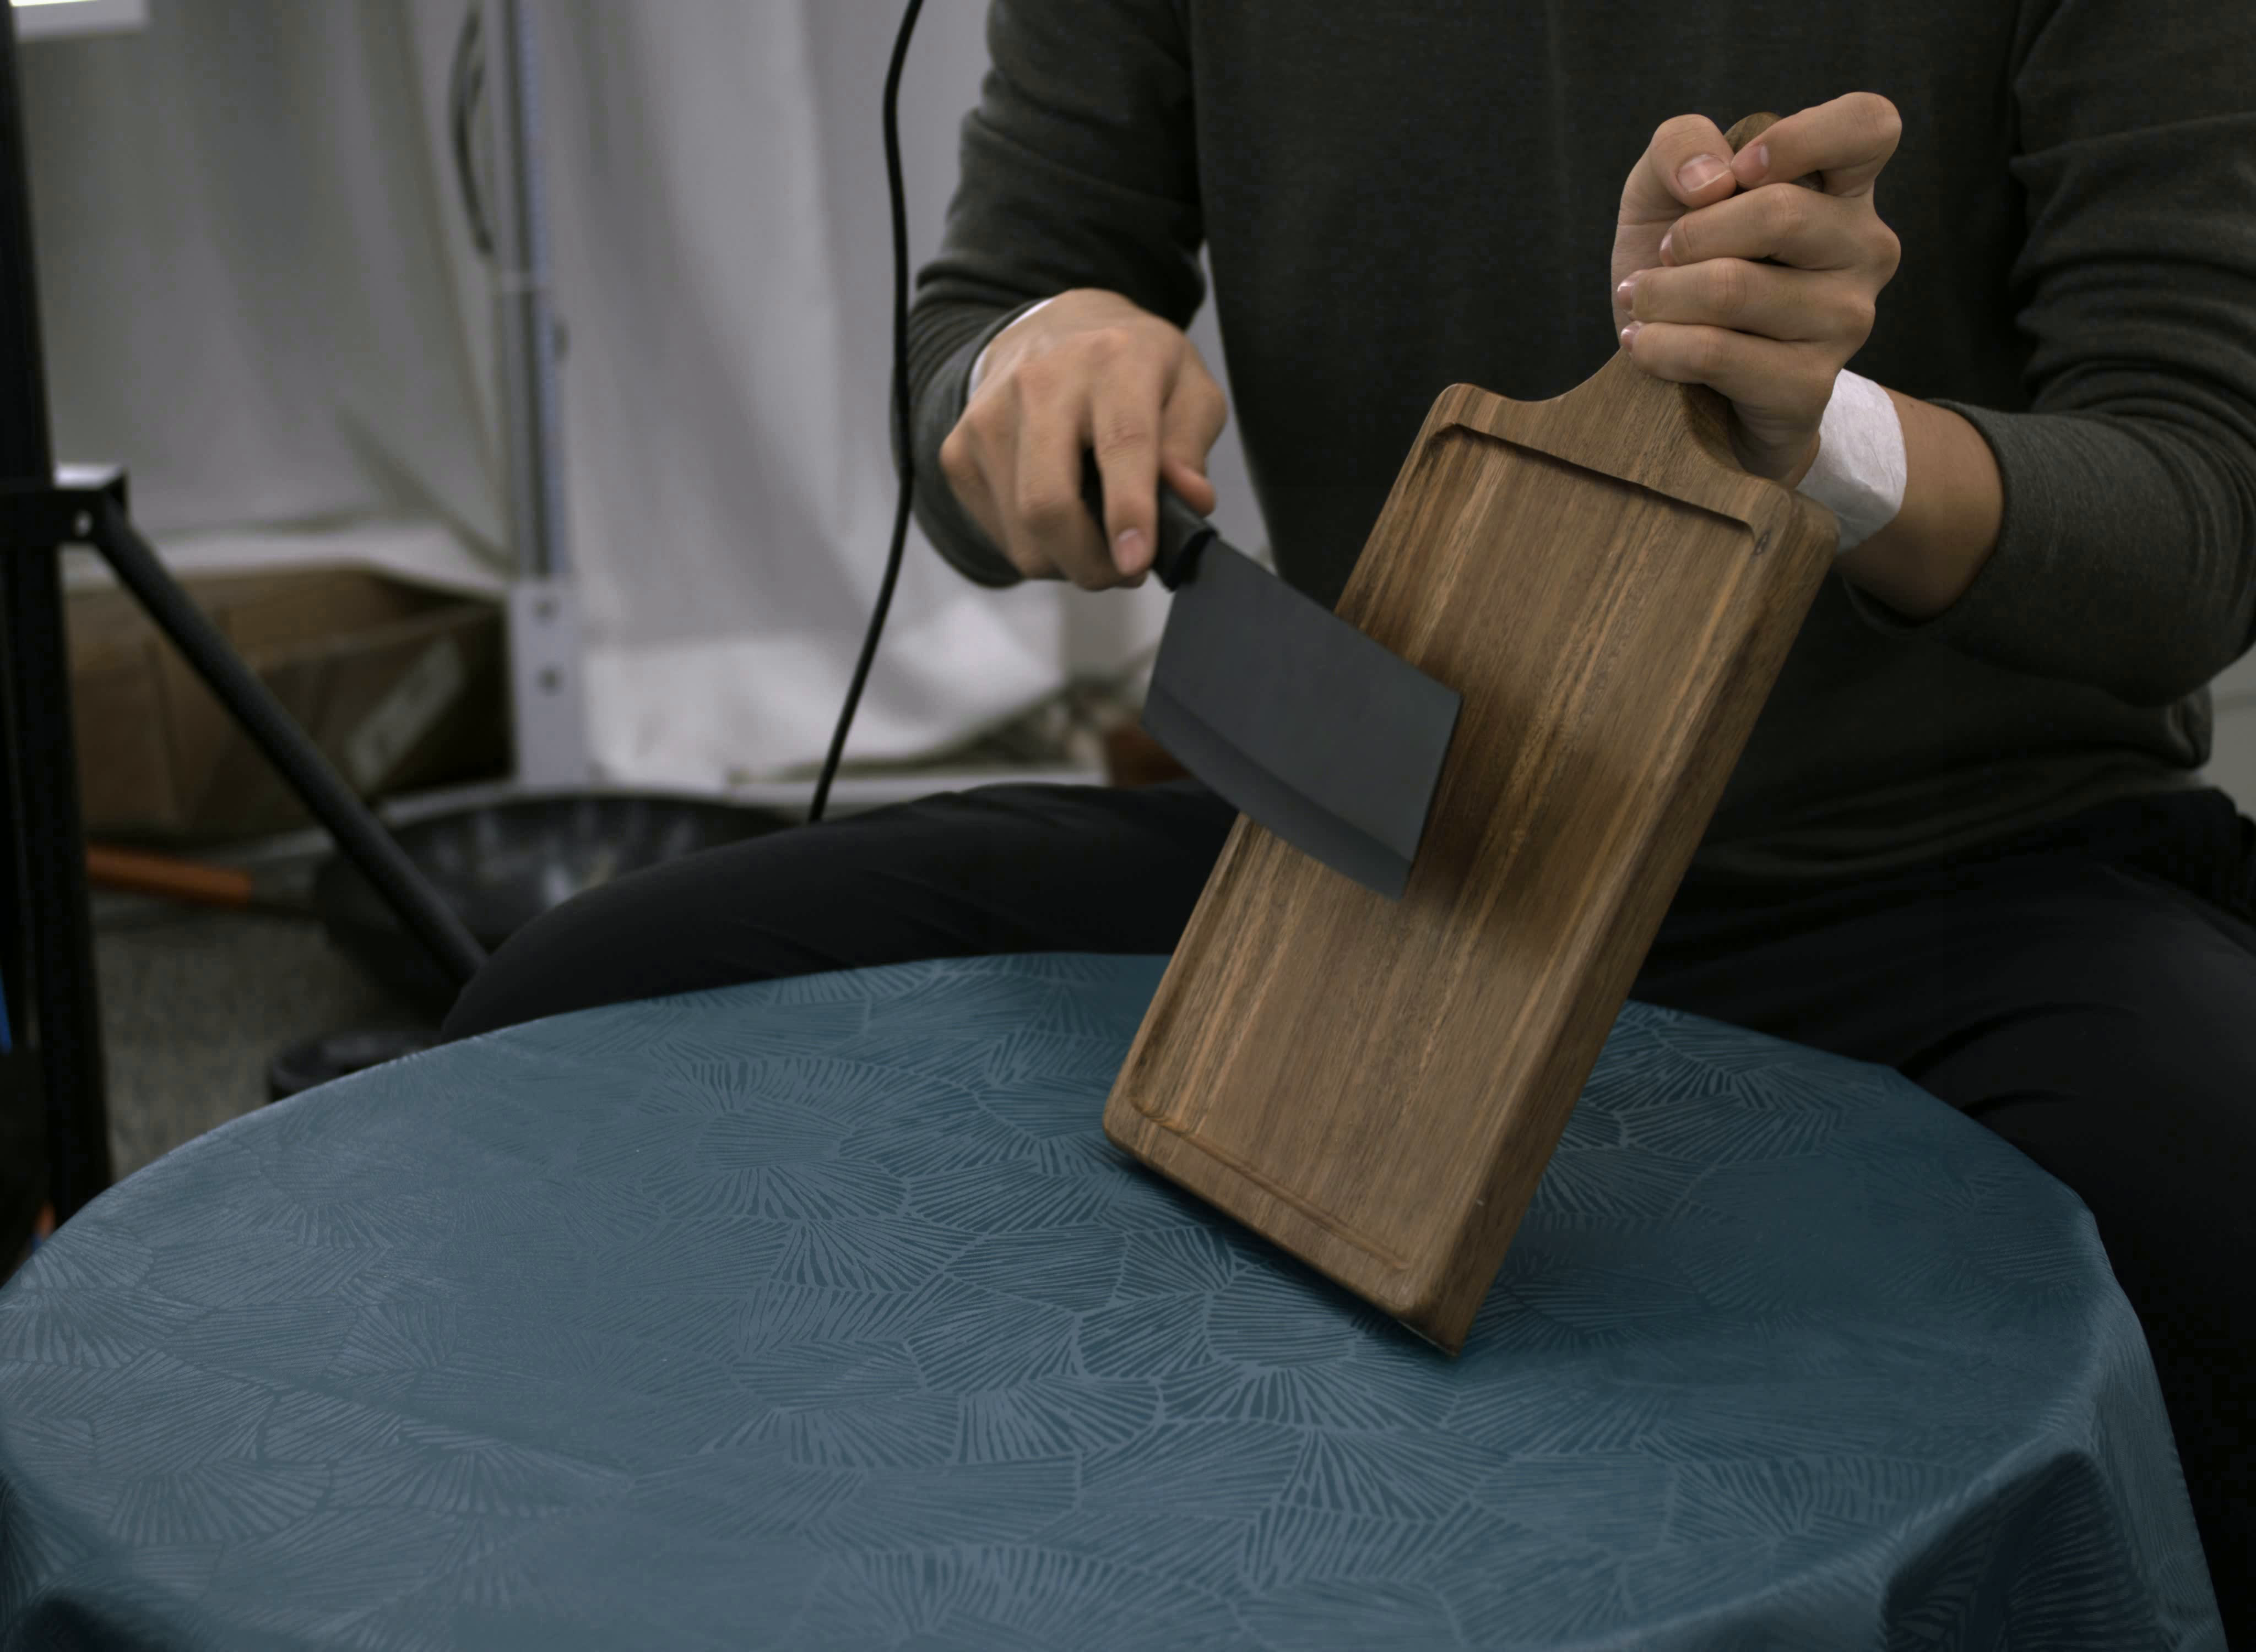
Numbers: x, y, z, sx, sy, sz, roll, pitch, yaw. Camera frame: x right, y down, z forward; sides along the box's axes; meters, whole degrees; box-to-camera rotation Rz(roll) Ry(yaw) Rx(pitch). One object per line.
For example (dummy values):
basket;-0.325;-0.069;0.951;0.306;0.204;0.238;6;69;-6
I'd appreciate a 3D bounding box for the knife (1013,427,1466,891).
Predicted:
knife;0.027;-0.057;1.577;0.020;0.081;0.308;11;17;-27

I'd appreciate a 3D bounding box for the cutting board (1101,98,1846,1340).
cutting board;0.113;-0.041;1.506;0.022;0.353;0.205;25;0;-30
